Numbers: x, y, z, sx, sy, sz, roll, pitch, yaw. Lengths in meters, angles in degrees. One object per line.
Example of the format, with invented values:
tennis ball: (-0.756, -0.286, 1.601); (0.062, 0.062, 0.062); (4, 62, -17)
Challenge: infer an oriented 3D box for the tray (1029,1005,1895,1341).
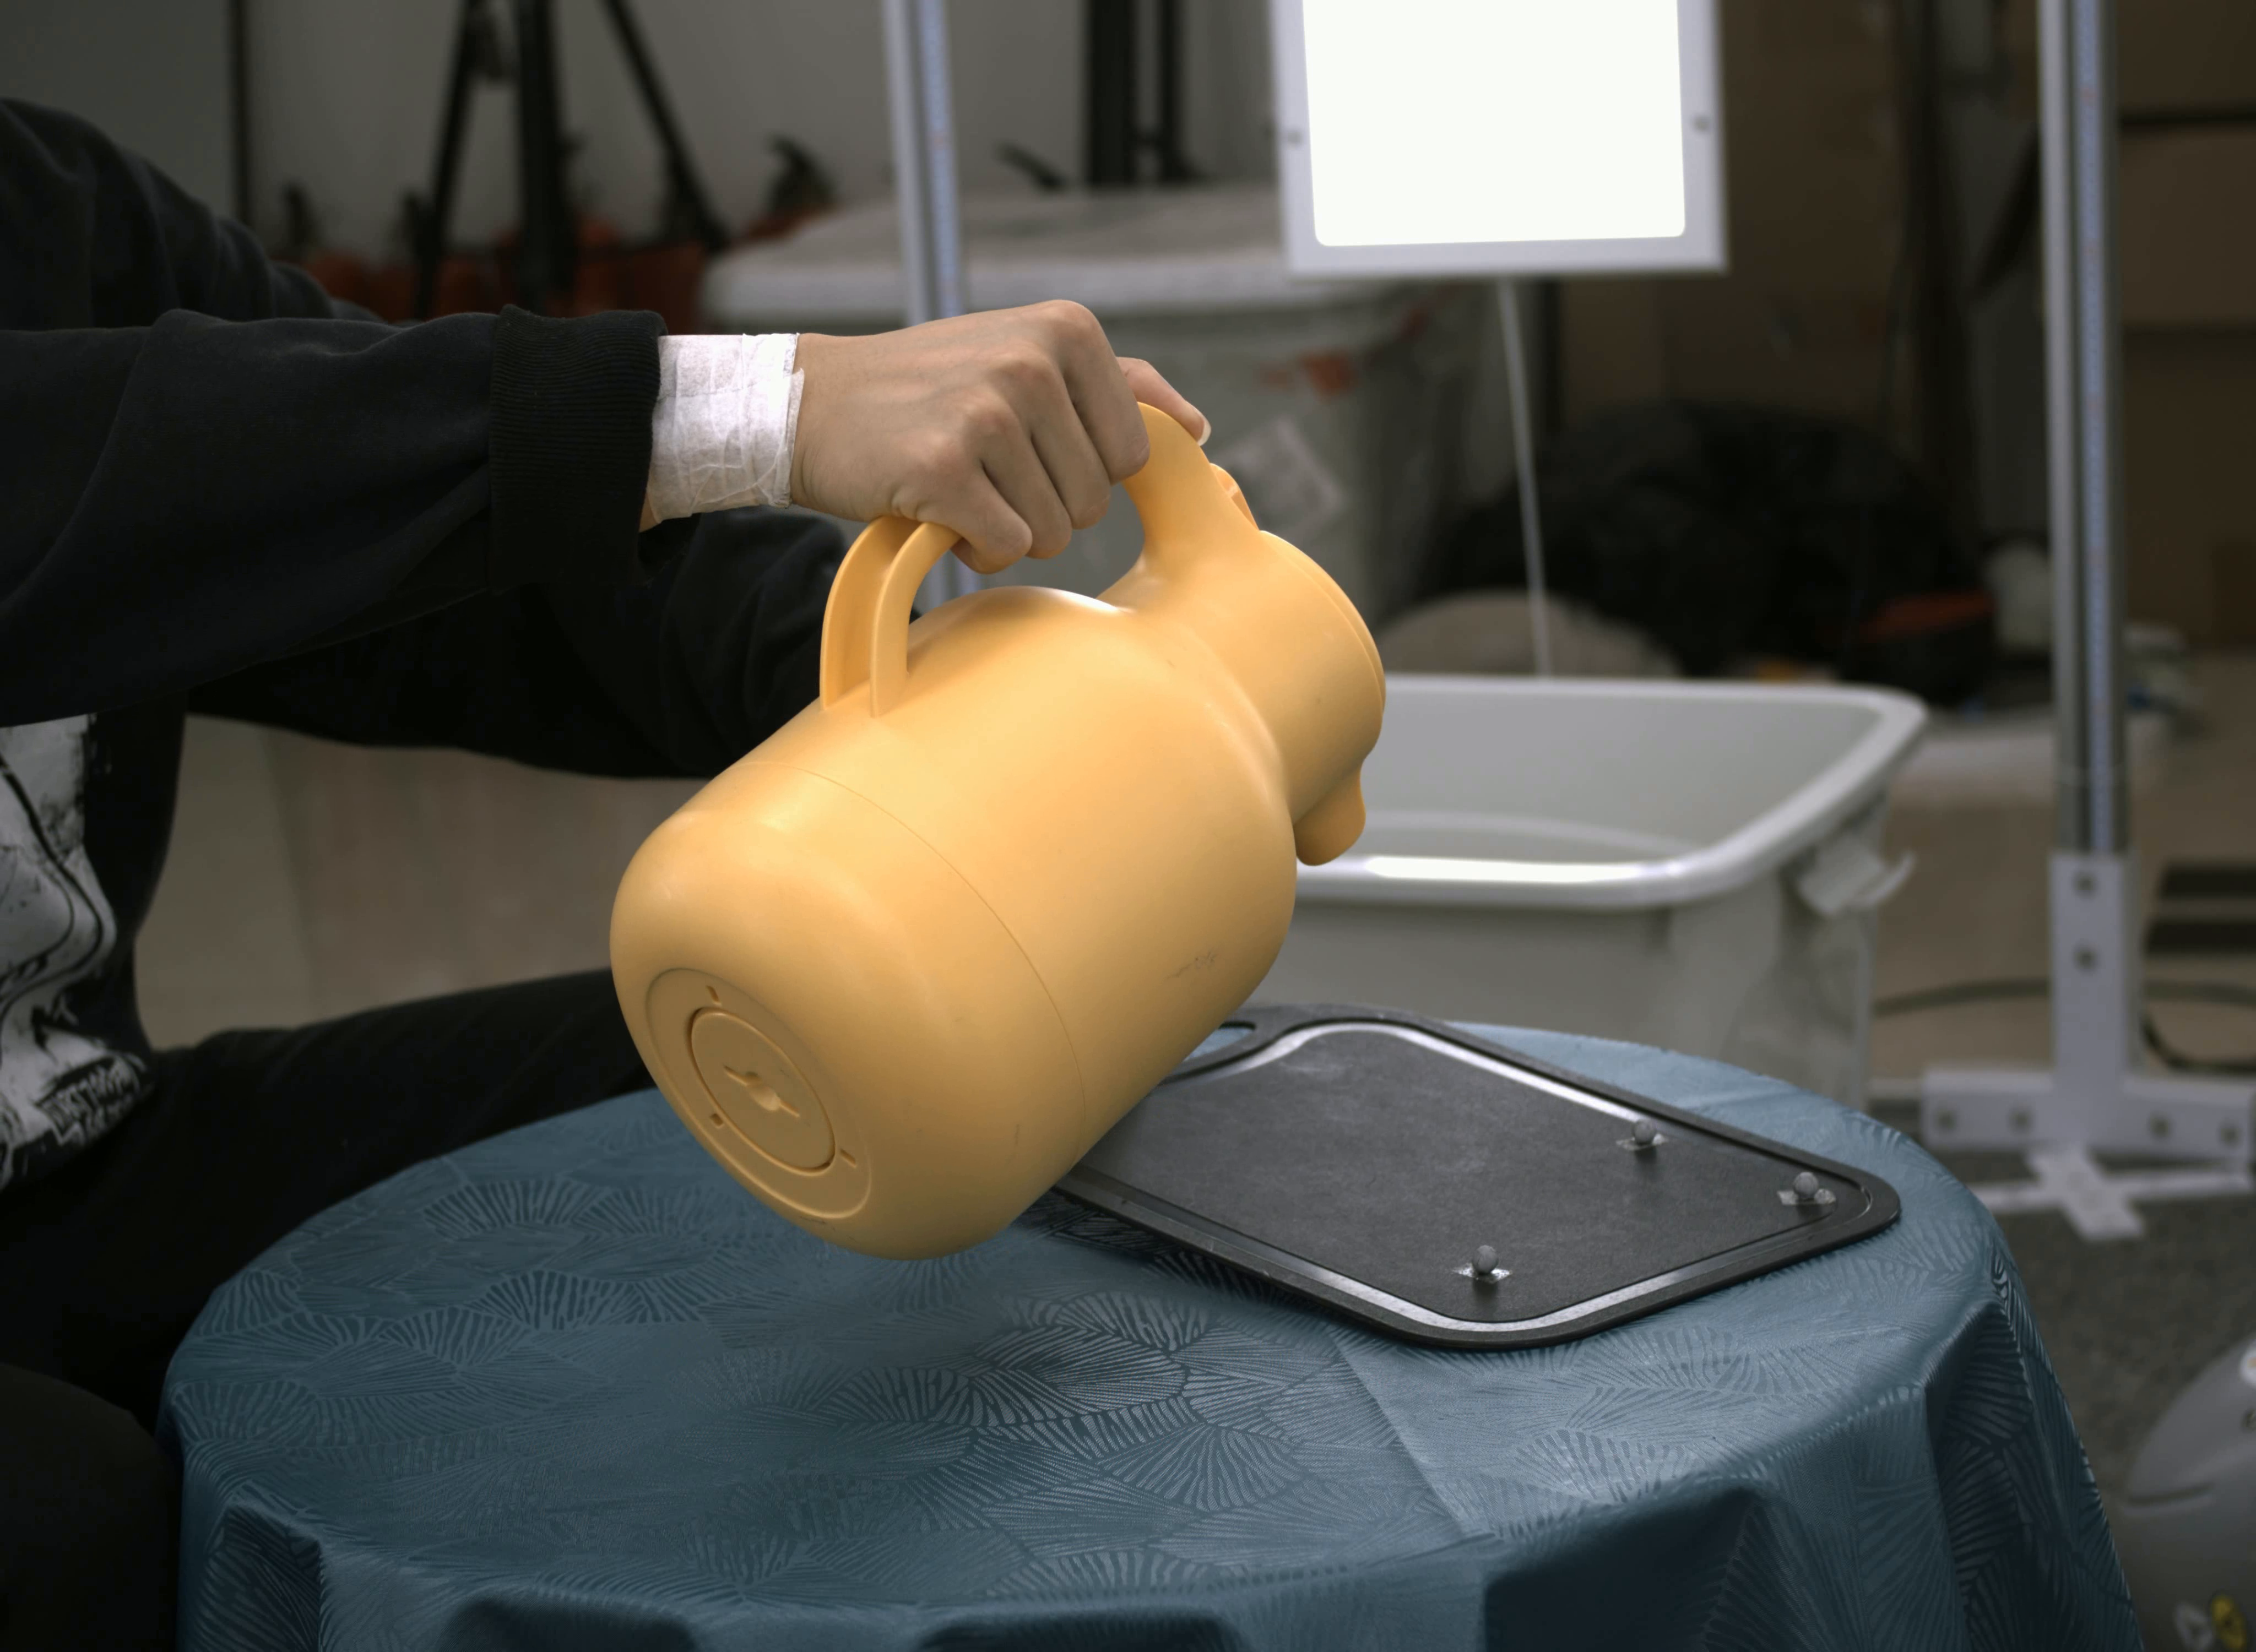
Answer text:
tray: (0.091, 0.111, 1.872); (0.206, 0.010, 0.332); (-14, 20, -34)

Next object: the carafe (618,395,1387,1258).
carafe: (-0.036, -0.009, 1.721); (0.167, 0.202, 0.255); (3, 36, 49)
